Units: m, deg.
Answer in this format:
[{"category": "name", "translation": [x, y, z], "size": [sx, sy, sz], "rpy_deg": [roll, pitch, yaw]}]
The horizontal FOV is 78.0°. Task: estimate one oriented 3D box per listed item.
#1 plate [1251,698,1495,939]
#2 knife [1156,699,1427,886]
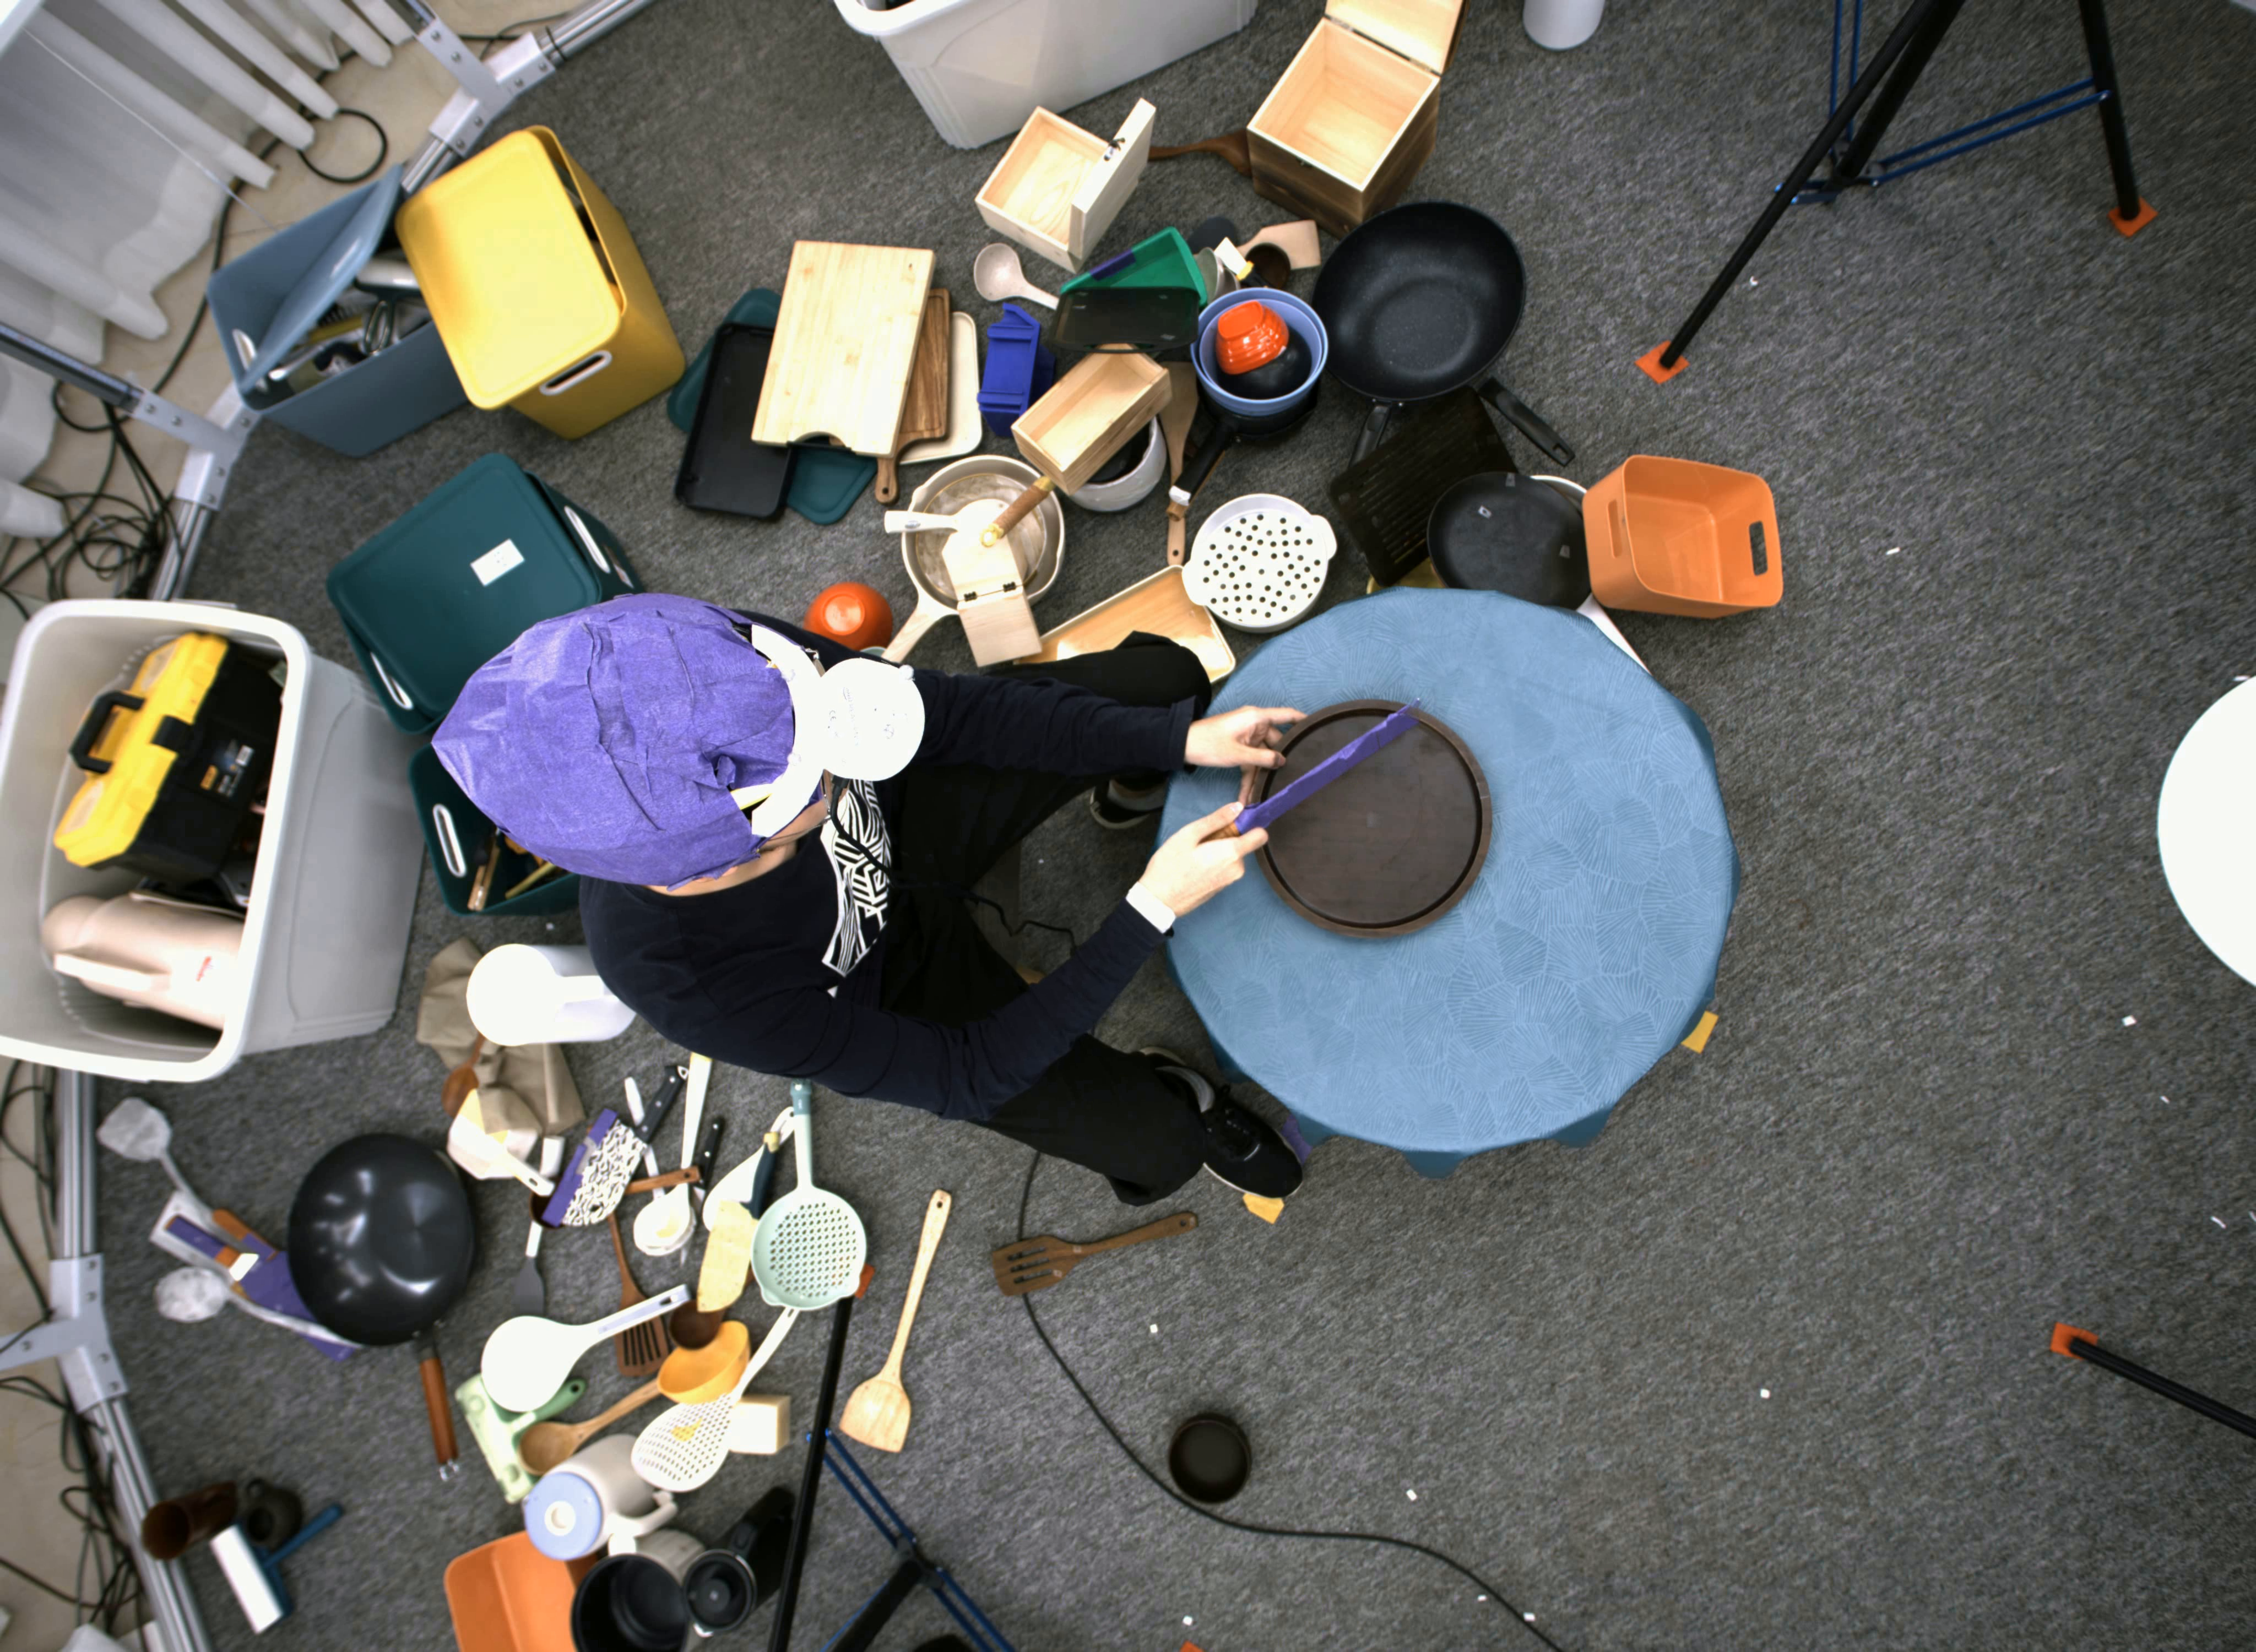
[{"category": "plate", "translation": [0.255, -0.009, 1.448], "size": [0.255, 0.029, 0.254], "rpy_deg": [0, 89, 7]}, {"category": "knife", "translation": [0.172, -0.029, 1.408], "size": [0.317, 0.104, 0.032], "rpy_deg": [-32, 74, 6]}]
